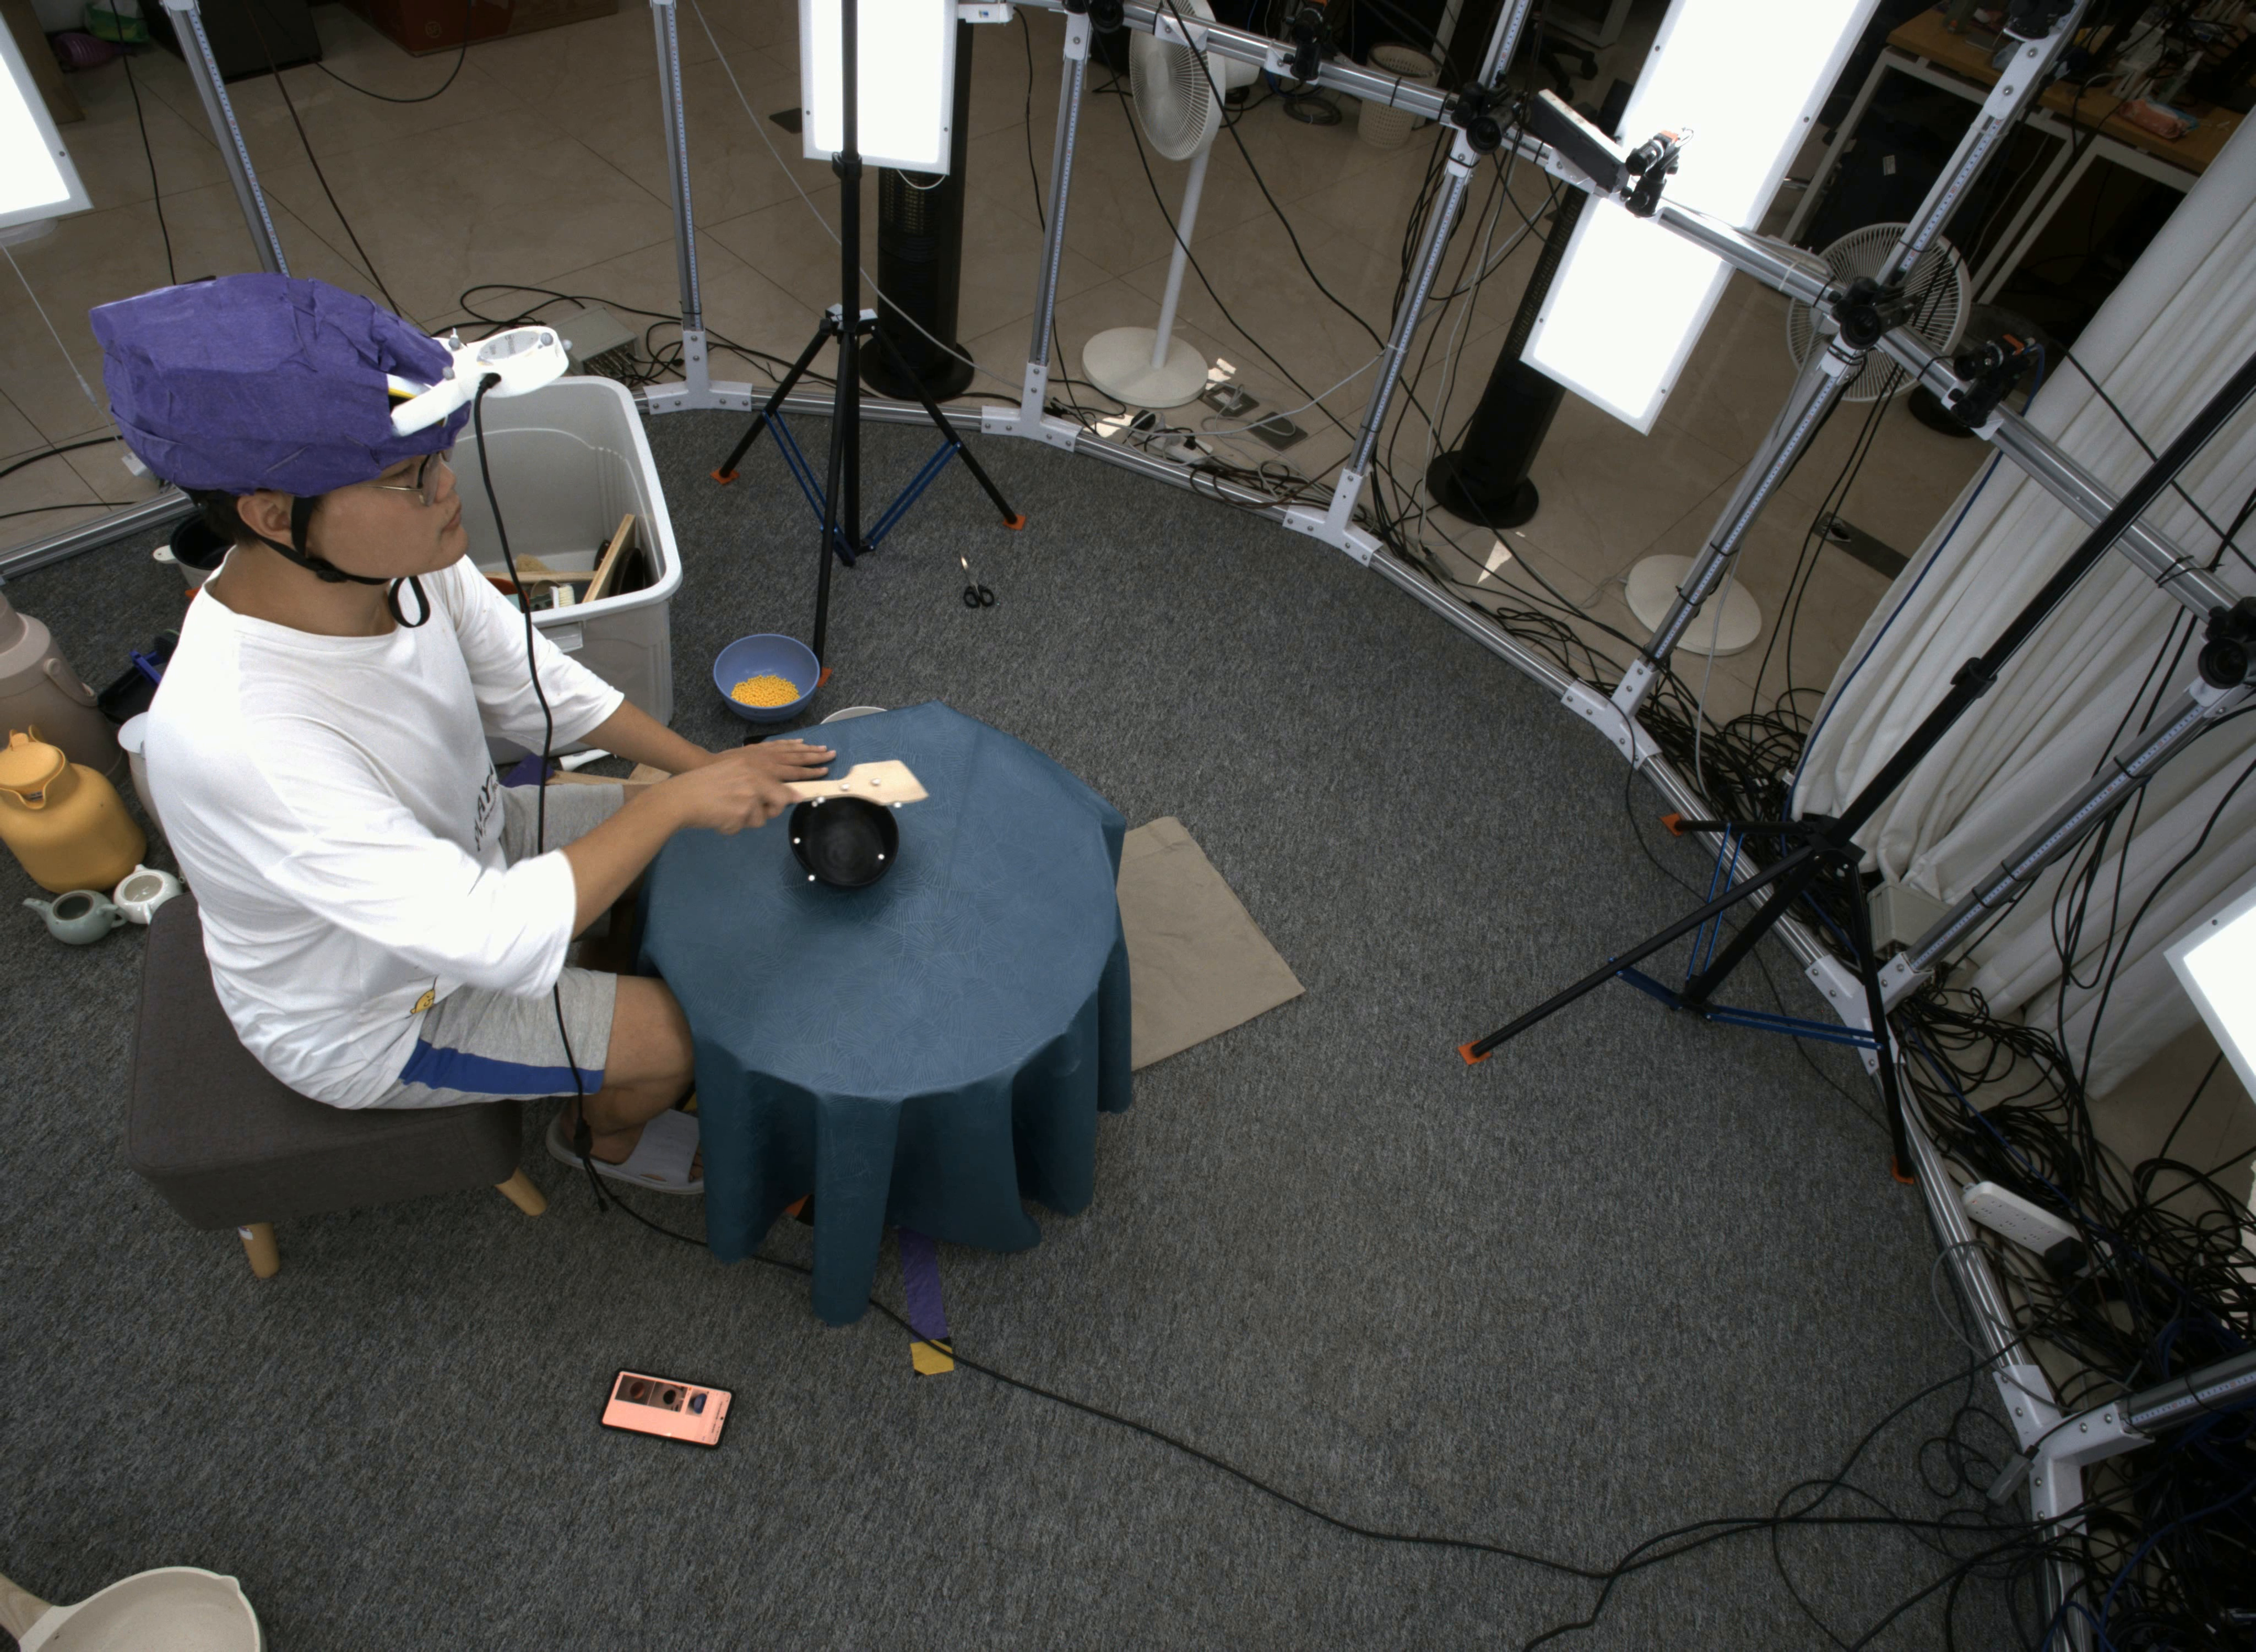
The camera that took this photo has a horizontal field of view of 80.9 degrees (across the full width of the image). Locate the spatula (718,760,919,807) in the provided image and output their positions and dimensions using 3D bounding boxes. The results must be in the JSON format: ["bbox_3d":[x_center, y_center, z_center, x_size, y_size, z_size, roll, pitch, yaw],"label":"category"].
[{"bbox_3d":[-0.370,-0.045,1.558,0.071,0.011,0.297,50,29,19],"label":"spatula"}]

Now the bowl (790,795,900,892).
[{"bbox_3d":[-0.368,0.025,1.690,0.138,0.068,0.166,-13,56,-22],"label":"bowl"}]
